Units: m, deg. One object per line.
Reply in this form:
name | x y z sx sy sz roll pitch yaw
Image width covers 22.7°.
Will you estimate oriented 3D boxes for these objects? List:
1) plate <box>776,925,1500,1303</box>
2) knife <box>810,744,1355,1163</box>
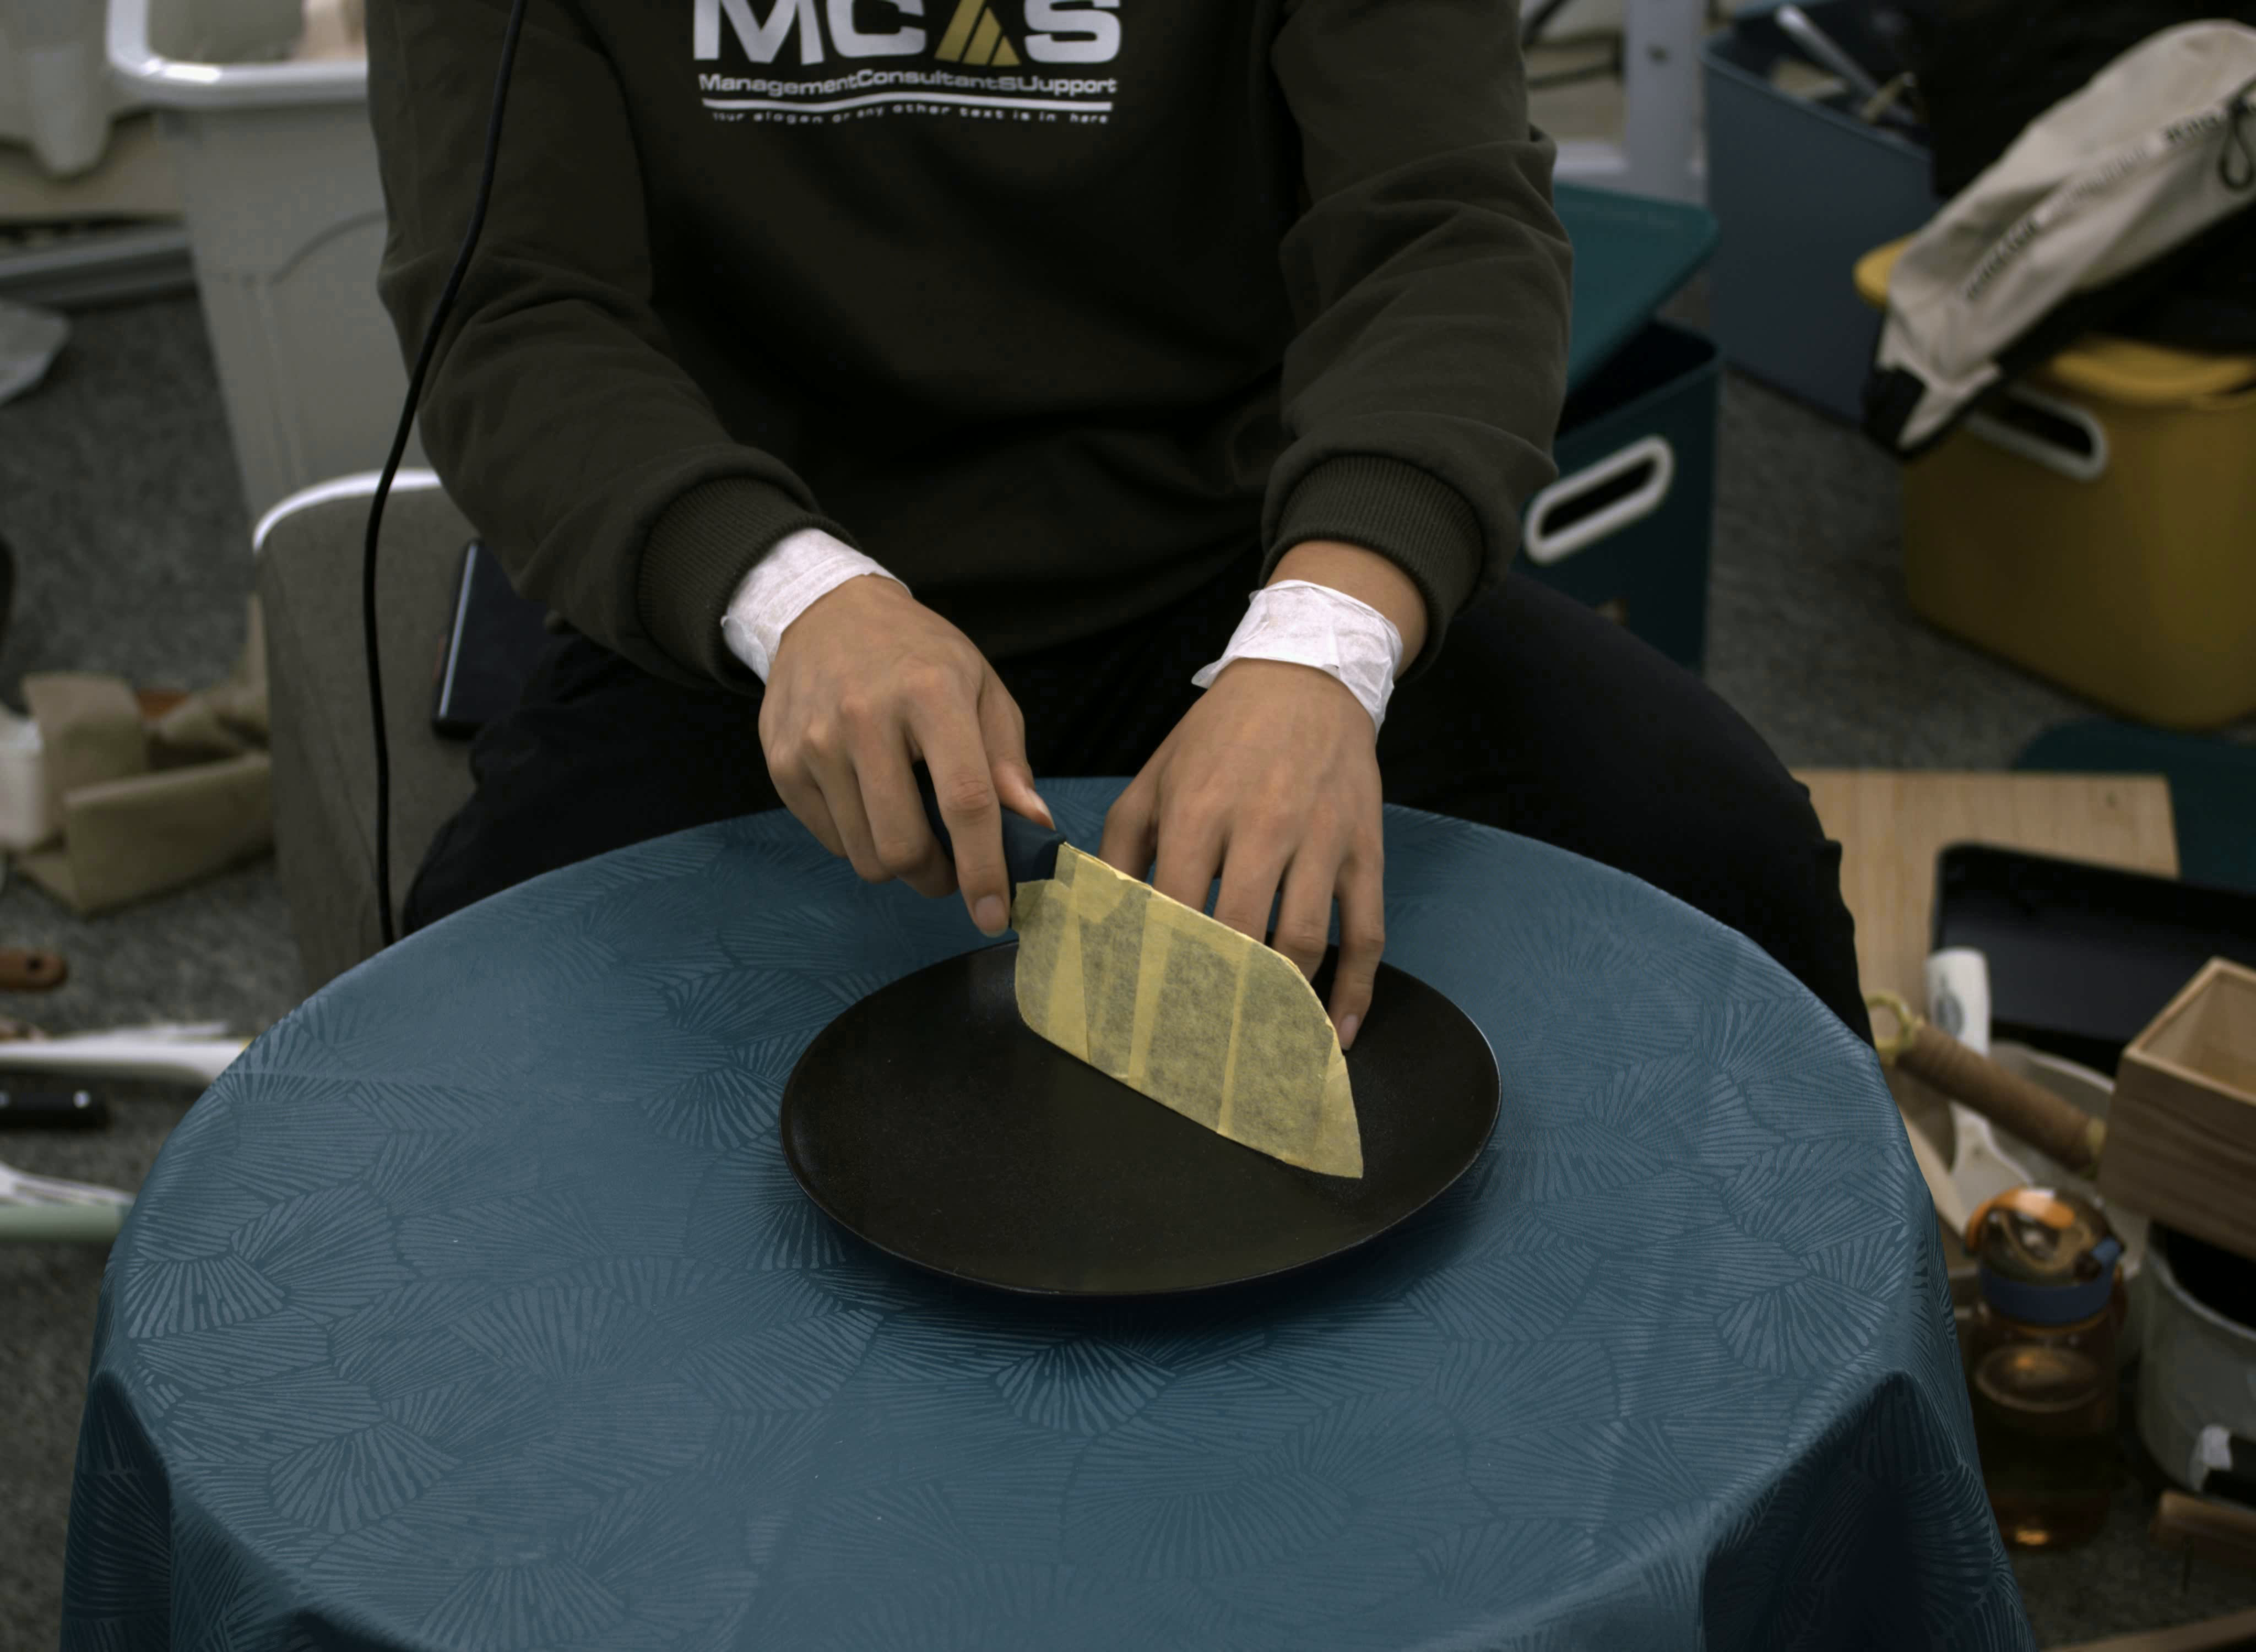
plate | 0.003 0.100 1.878 0.243 0.023 0.248 -2 27 1
knife | -0.018 0.040 1.919 0.027 0.080 0.290 -6 26 -41
